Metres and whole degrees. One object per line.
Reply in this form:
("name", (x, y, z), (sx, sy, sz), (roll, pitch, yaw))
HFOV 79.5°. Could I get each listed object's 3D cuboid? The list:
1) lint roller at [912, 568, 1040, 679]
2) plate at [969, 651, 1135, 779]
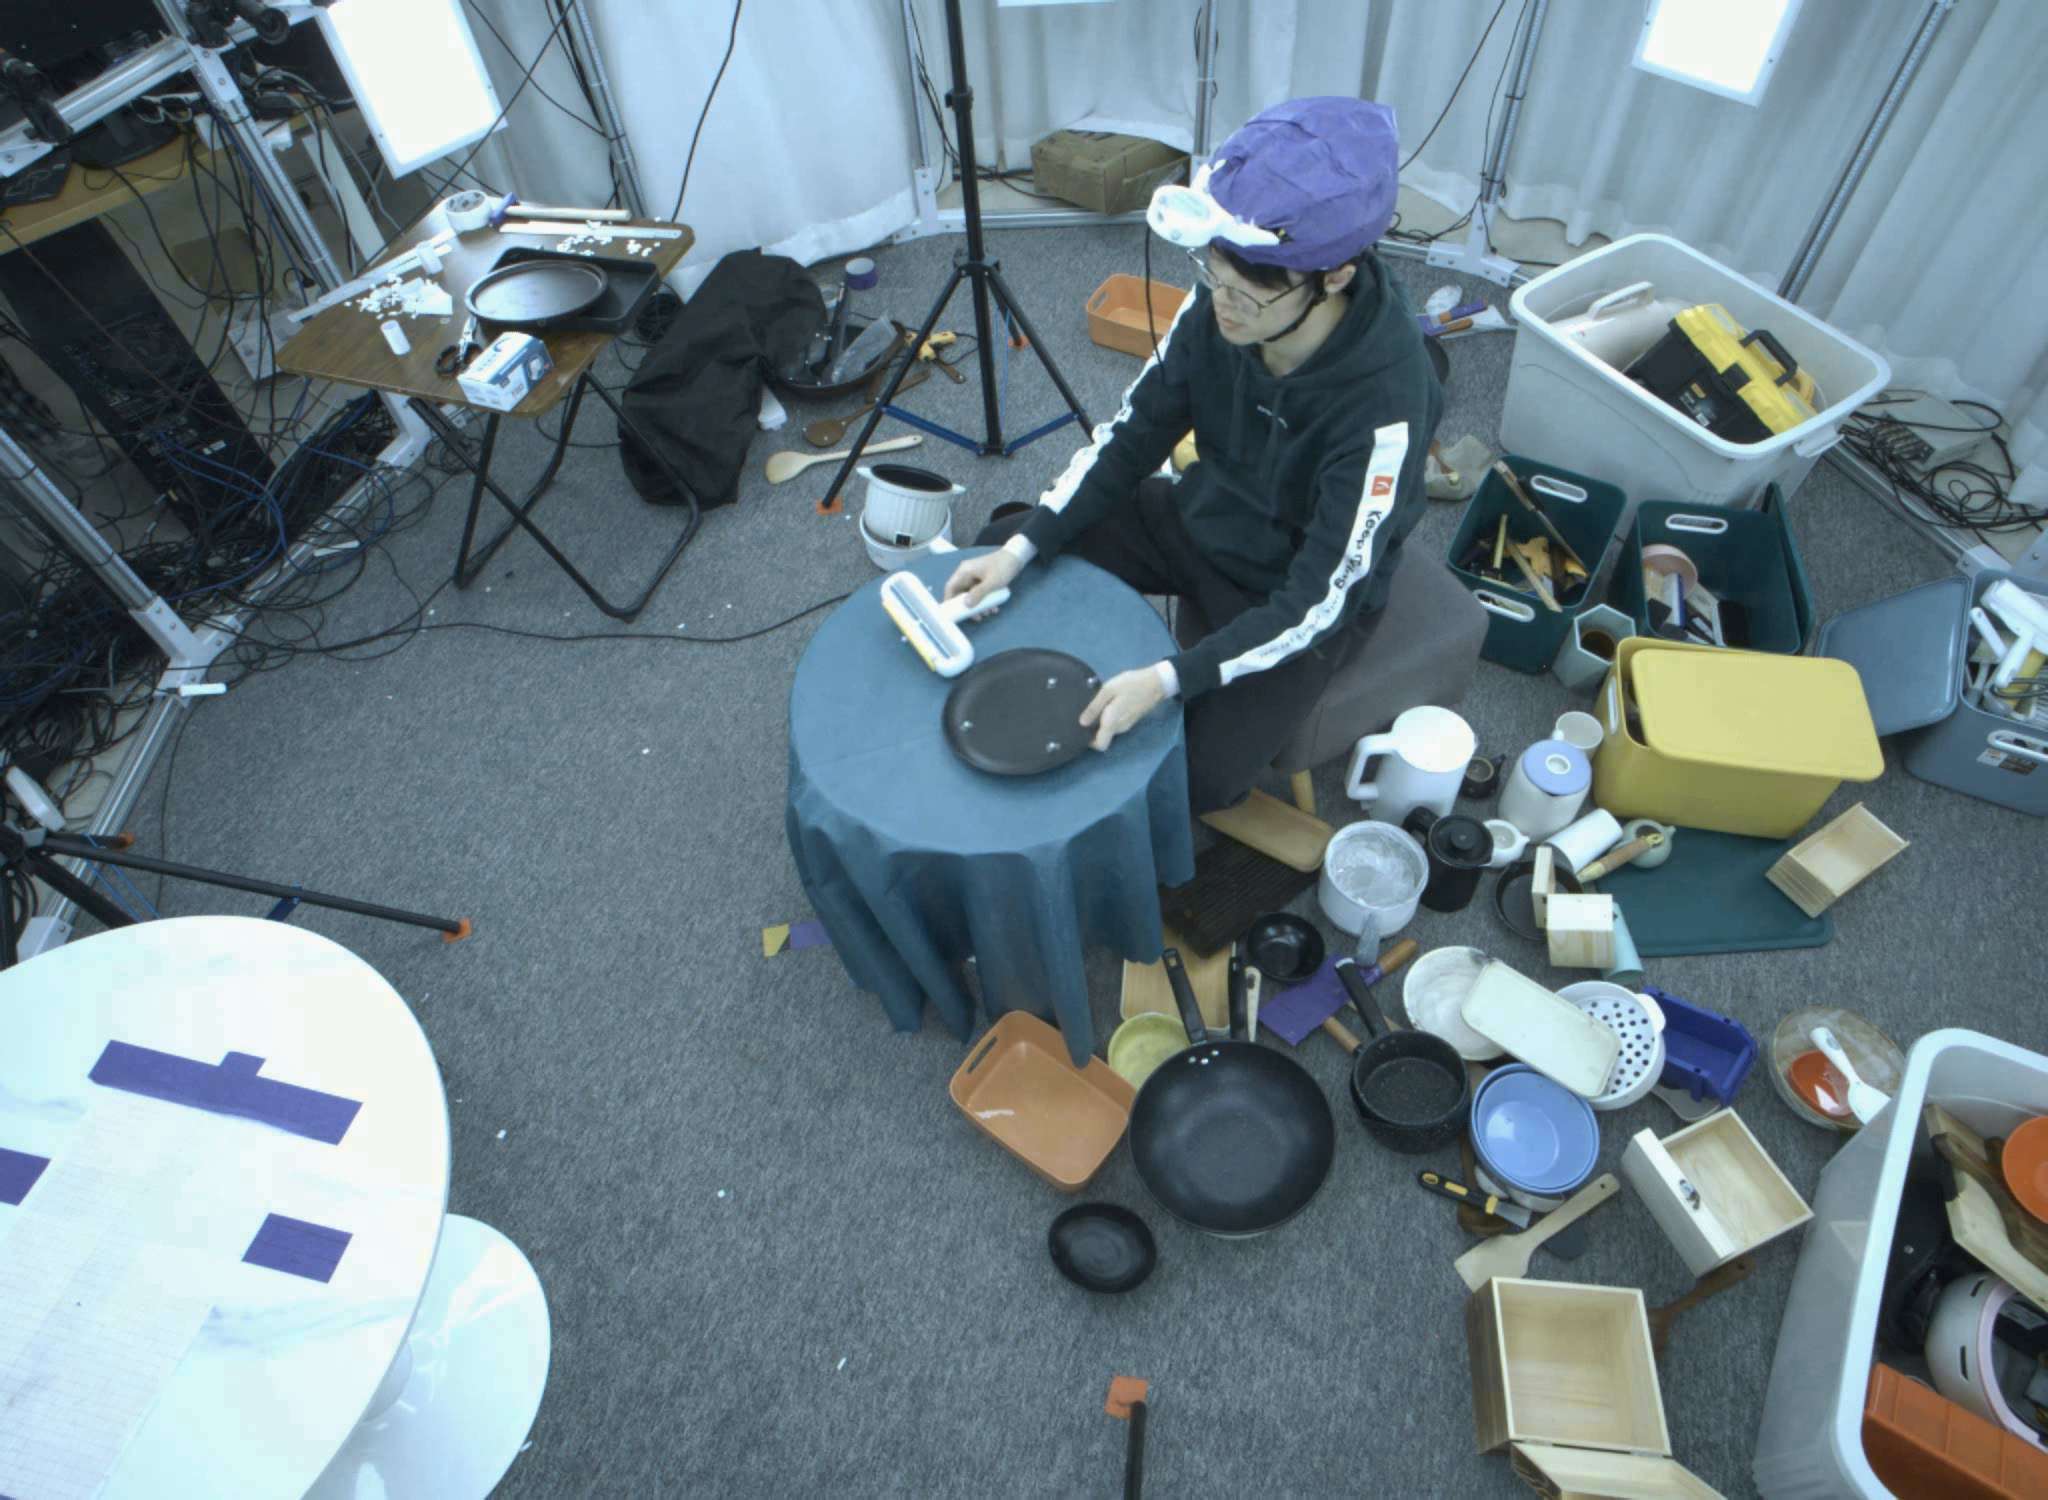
("lint roller", (-0.058, -0.207, 1.910), (0.195, 0.074, 0.190), (-20, 64, -26))
("plate", (0.041, -0.049, 1.793), (0.243, 0.024, 0.242), (-3, 52, 5))
